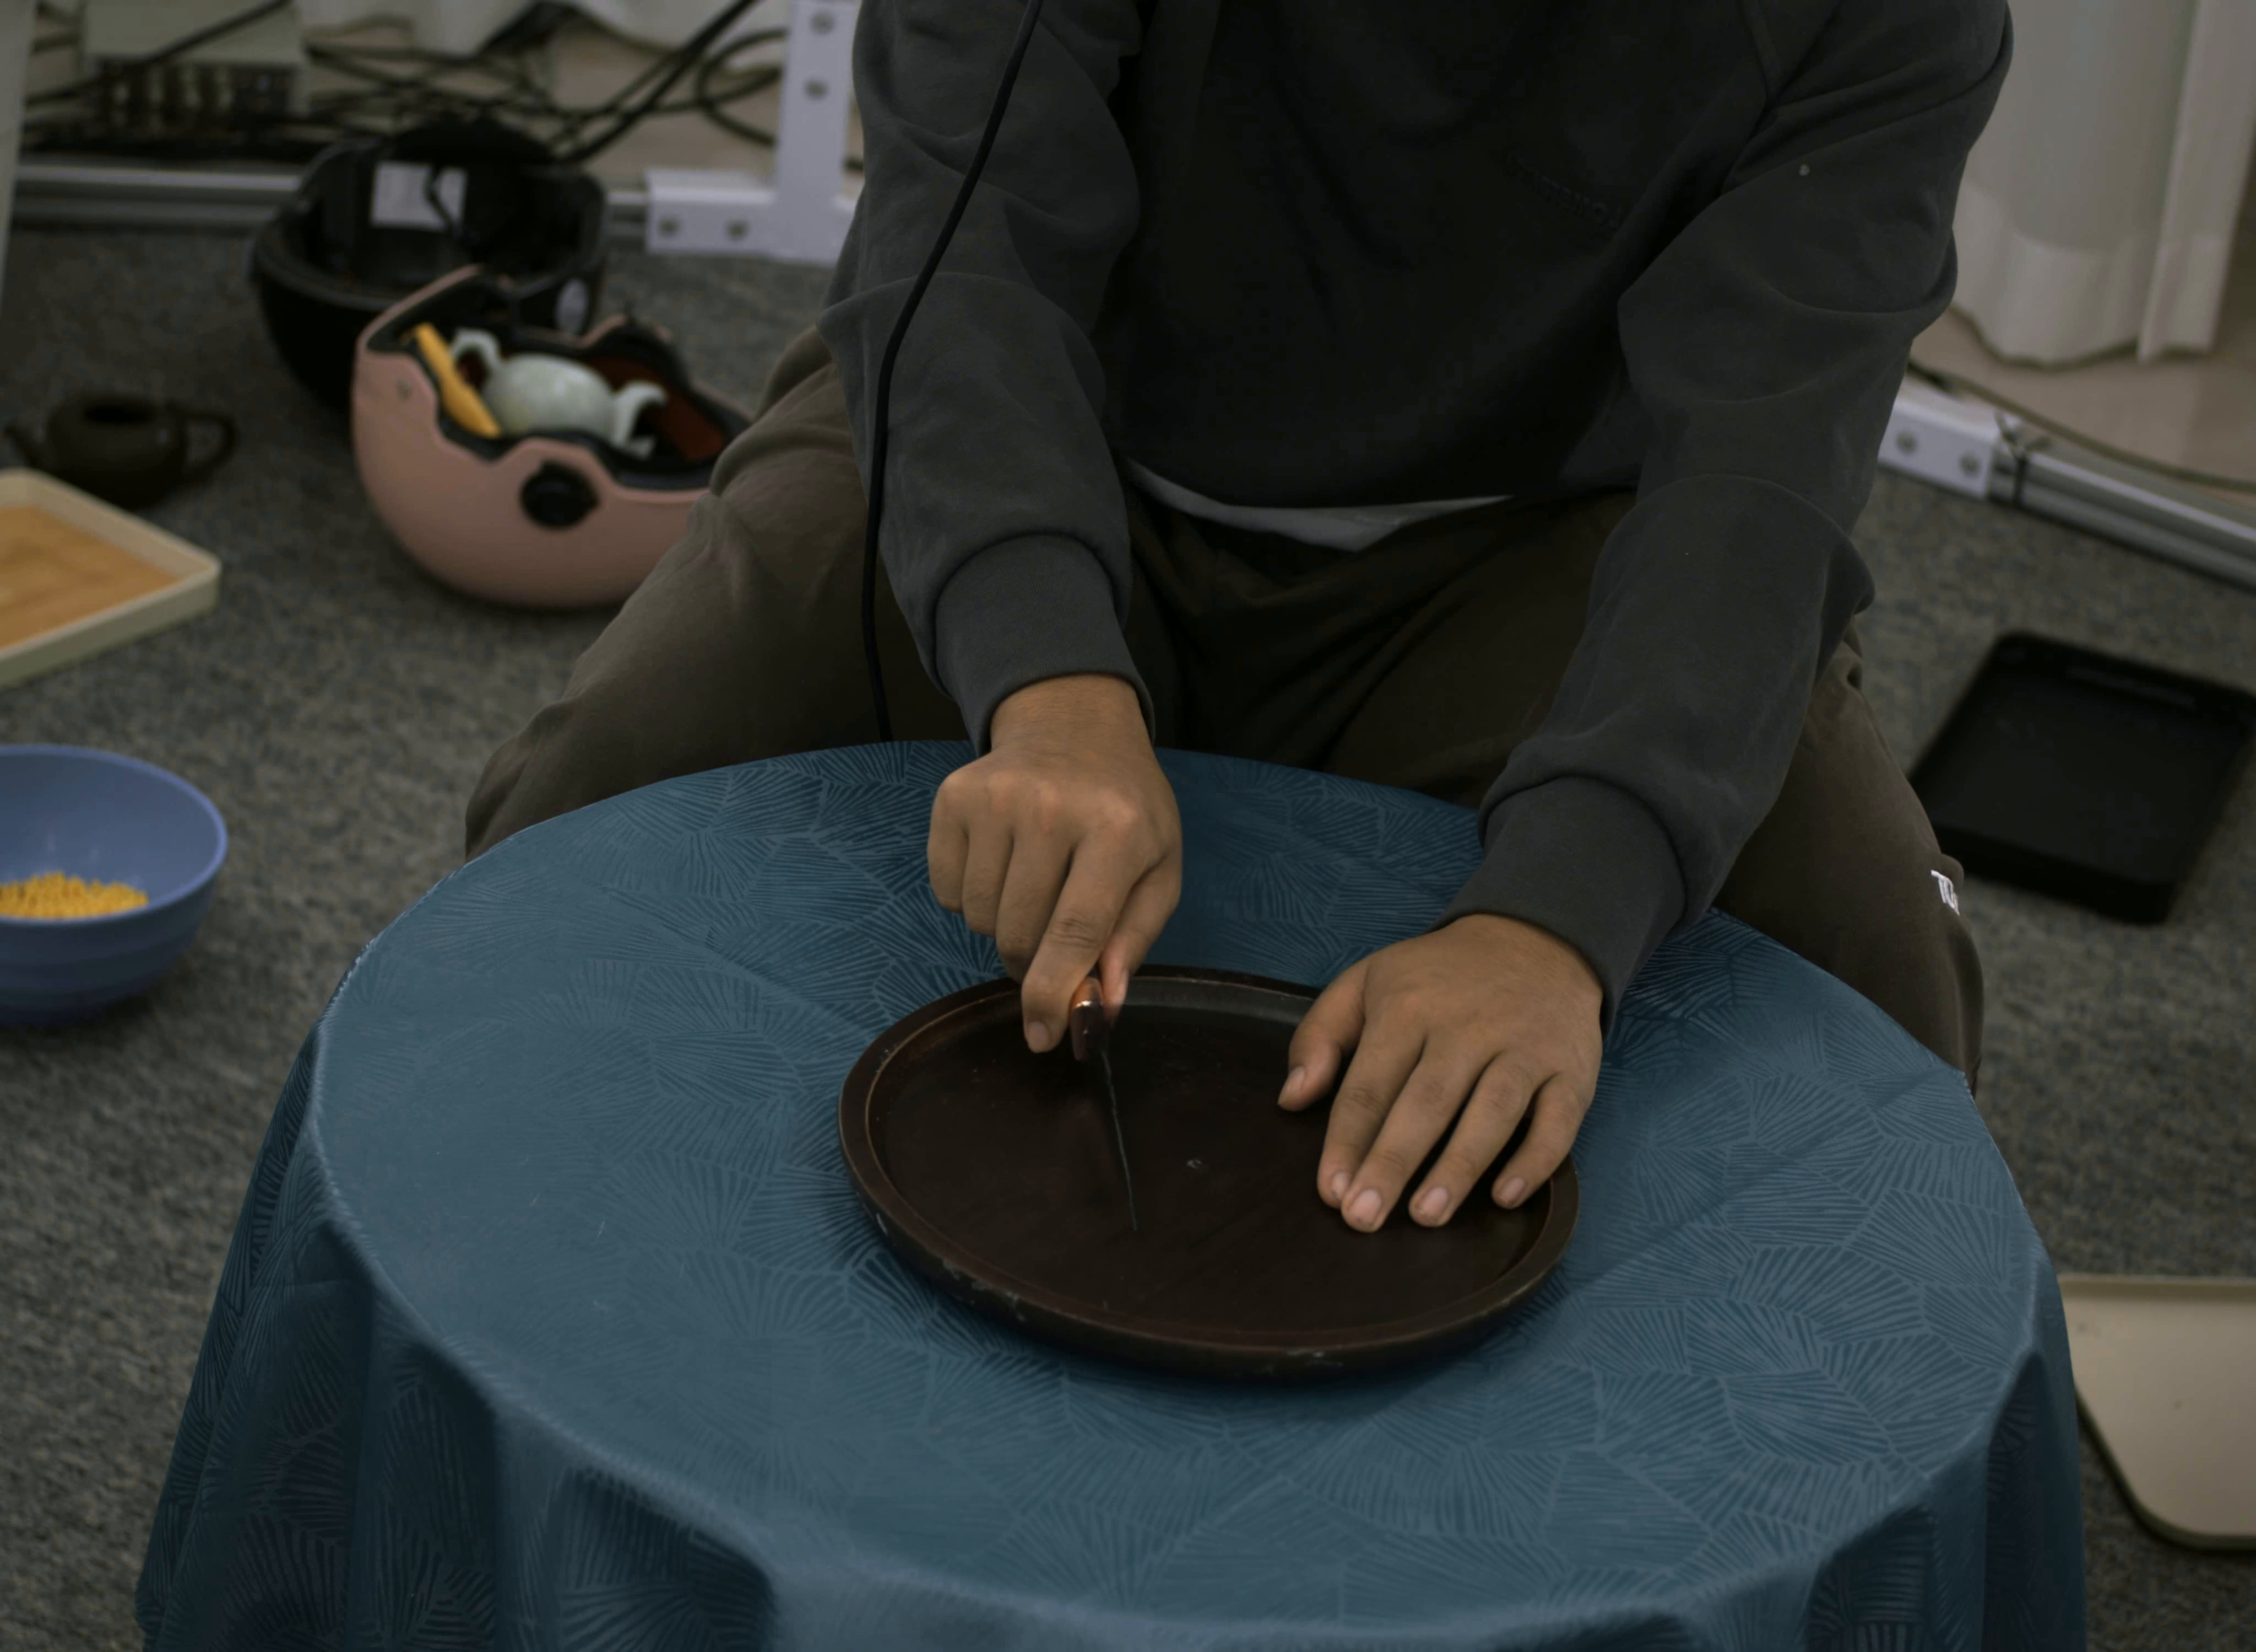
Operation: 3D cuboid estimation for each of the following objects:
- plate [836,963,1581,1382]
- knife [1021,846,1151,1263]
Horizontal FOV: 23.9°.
[{"bbox_3d":[0.027,0.116,1.803,0.254,0.029,0.256,4,26,-2],"label":"plate"},{"bbox_3d":[-0.013,0.075,1.832,0.017,0.026,0.227,-4,34,-9],"label":"knife"}]
